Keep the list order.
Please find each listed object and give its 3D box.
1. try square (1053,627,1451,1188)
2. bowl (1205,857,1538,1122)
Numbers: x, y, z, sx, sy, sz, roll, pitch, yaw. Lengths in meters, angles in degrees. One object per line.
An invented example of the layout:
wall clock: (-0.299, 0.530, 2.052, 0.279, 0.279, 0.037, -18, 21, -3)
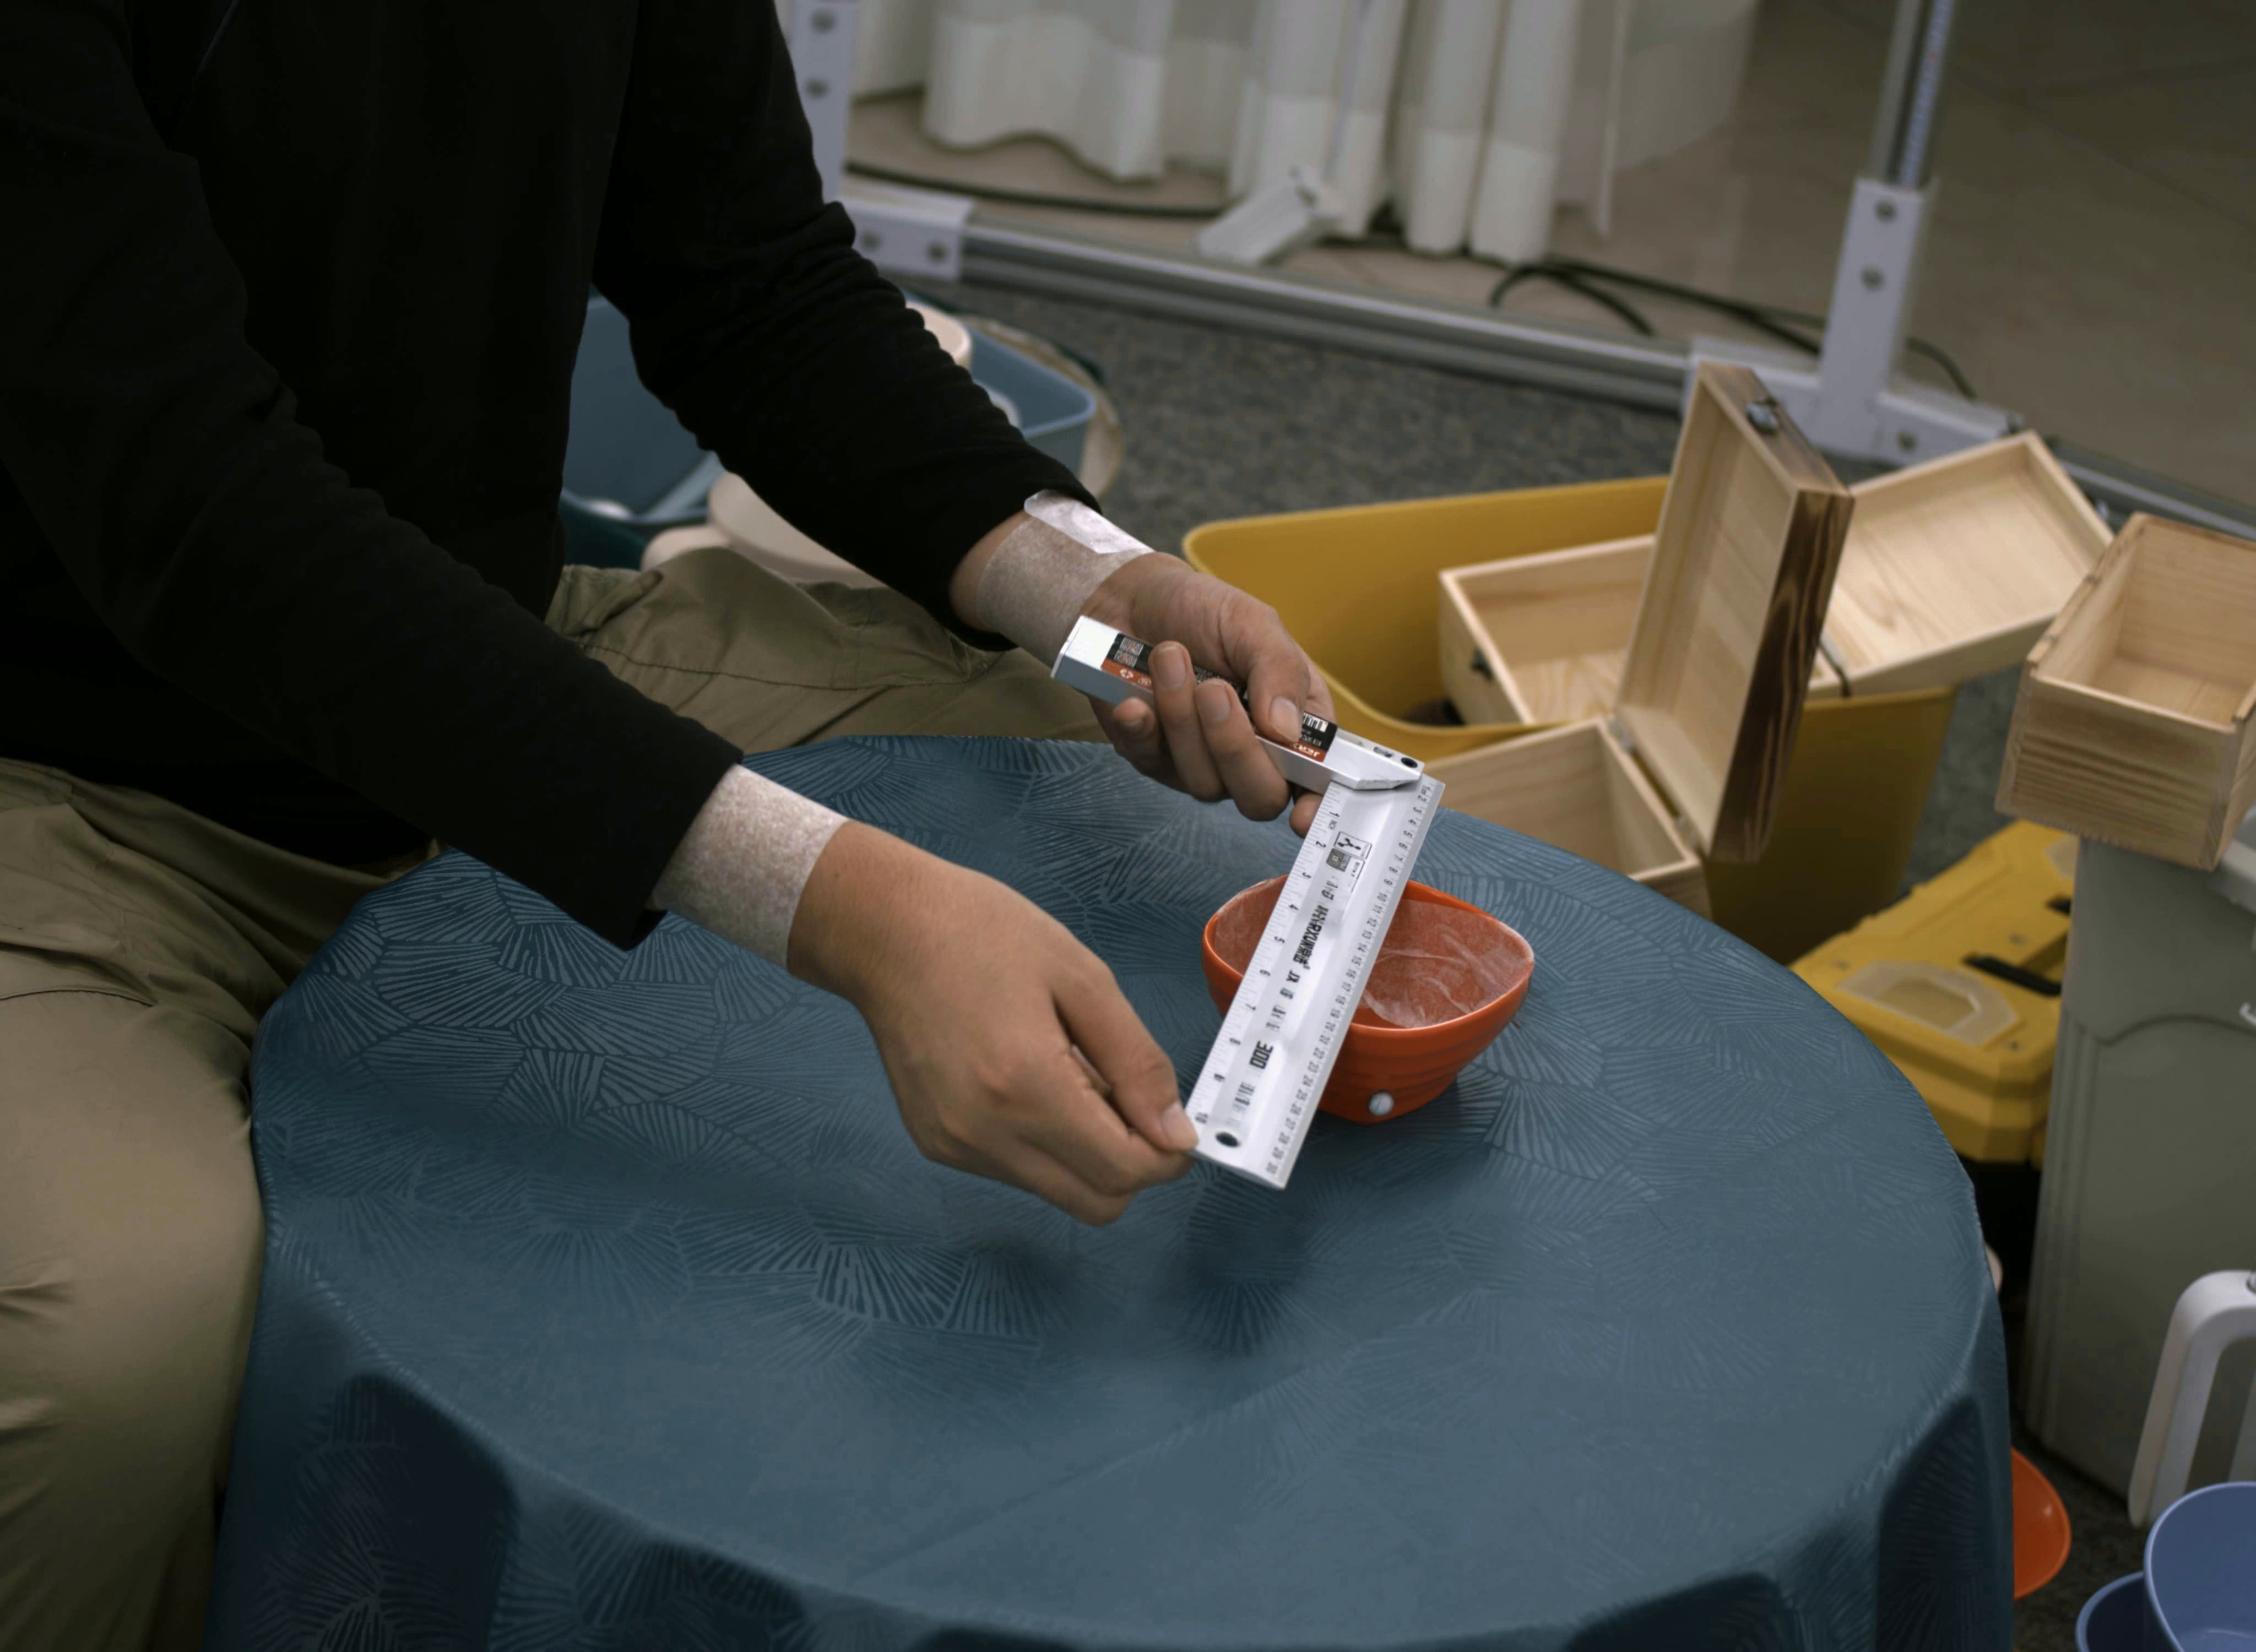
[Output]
try square: (0.017, 0.023, 1.859, 0.152, 0.016, 0.314, 21, 29, 4)
bowl: (0.083, 0.062, 1.880, 0.118, 0.051, 0.120, 6, 30, -4)
